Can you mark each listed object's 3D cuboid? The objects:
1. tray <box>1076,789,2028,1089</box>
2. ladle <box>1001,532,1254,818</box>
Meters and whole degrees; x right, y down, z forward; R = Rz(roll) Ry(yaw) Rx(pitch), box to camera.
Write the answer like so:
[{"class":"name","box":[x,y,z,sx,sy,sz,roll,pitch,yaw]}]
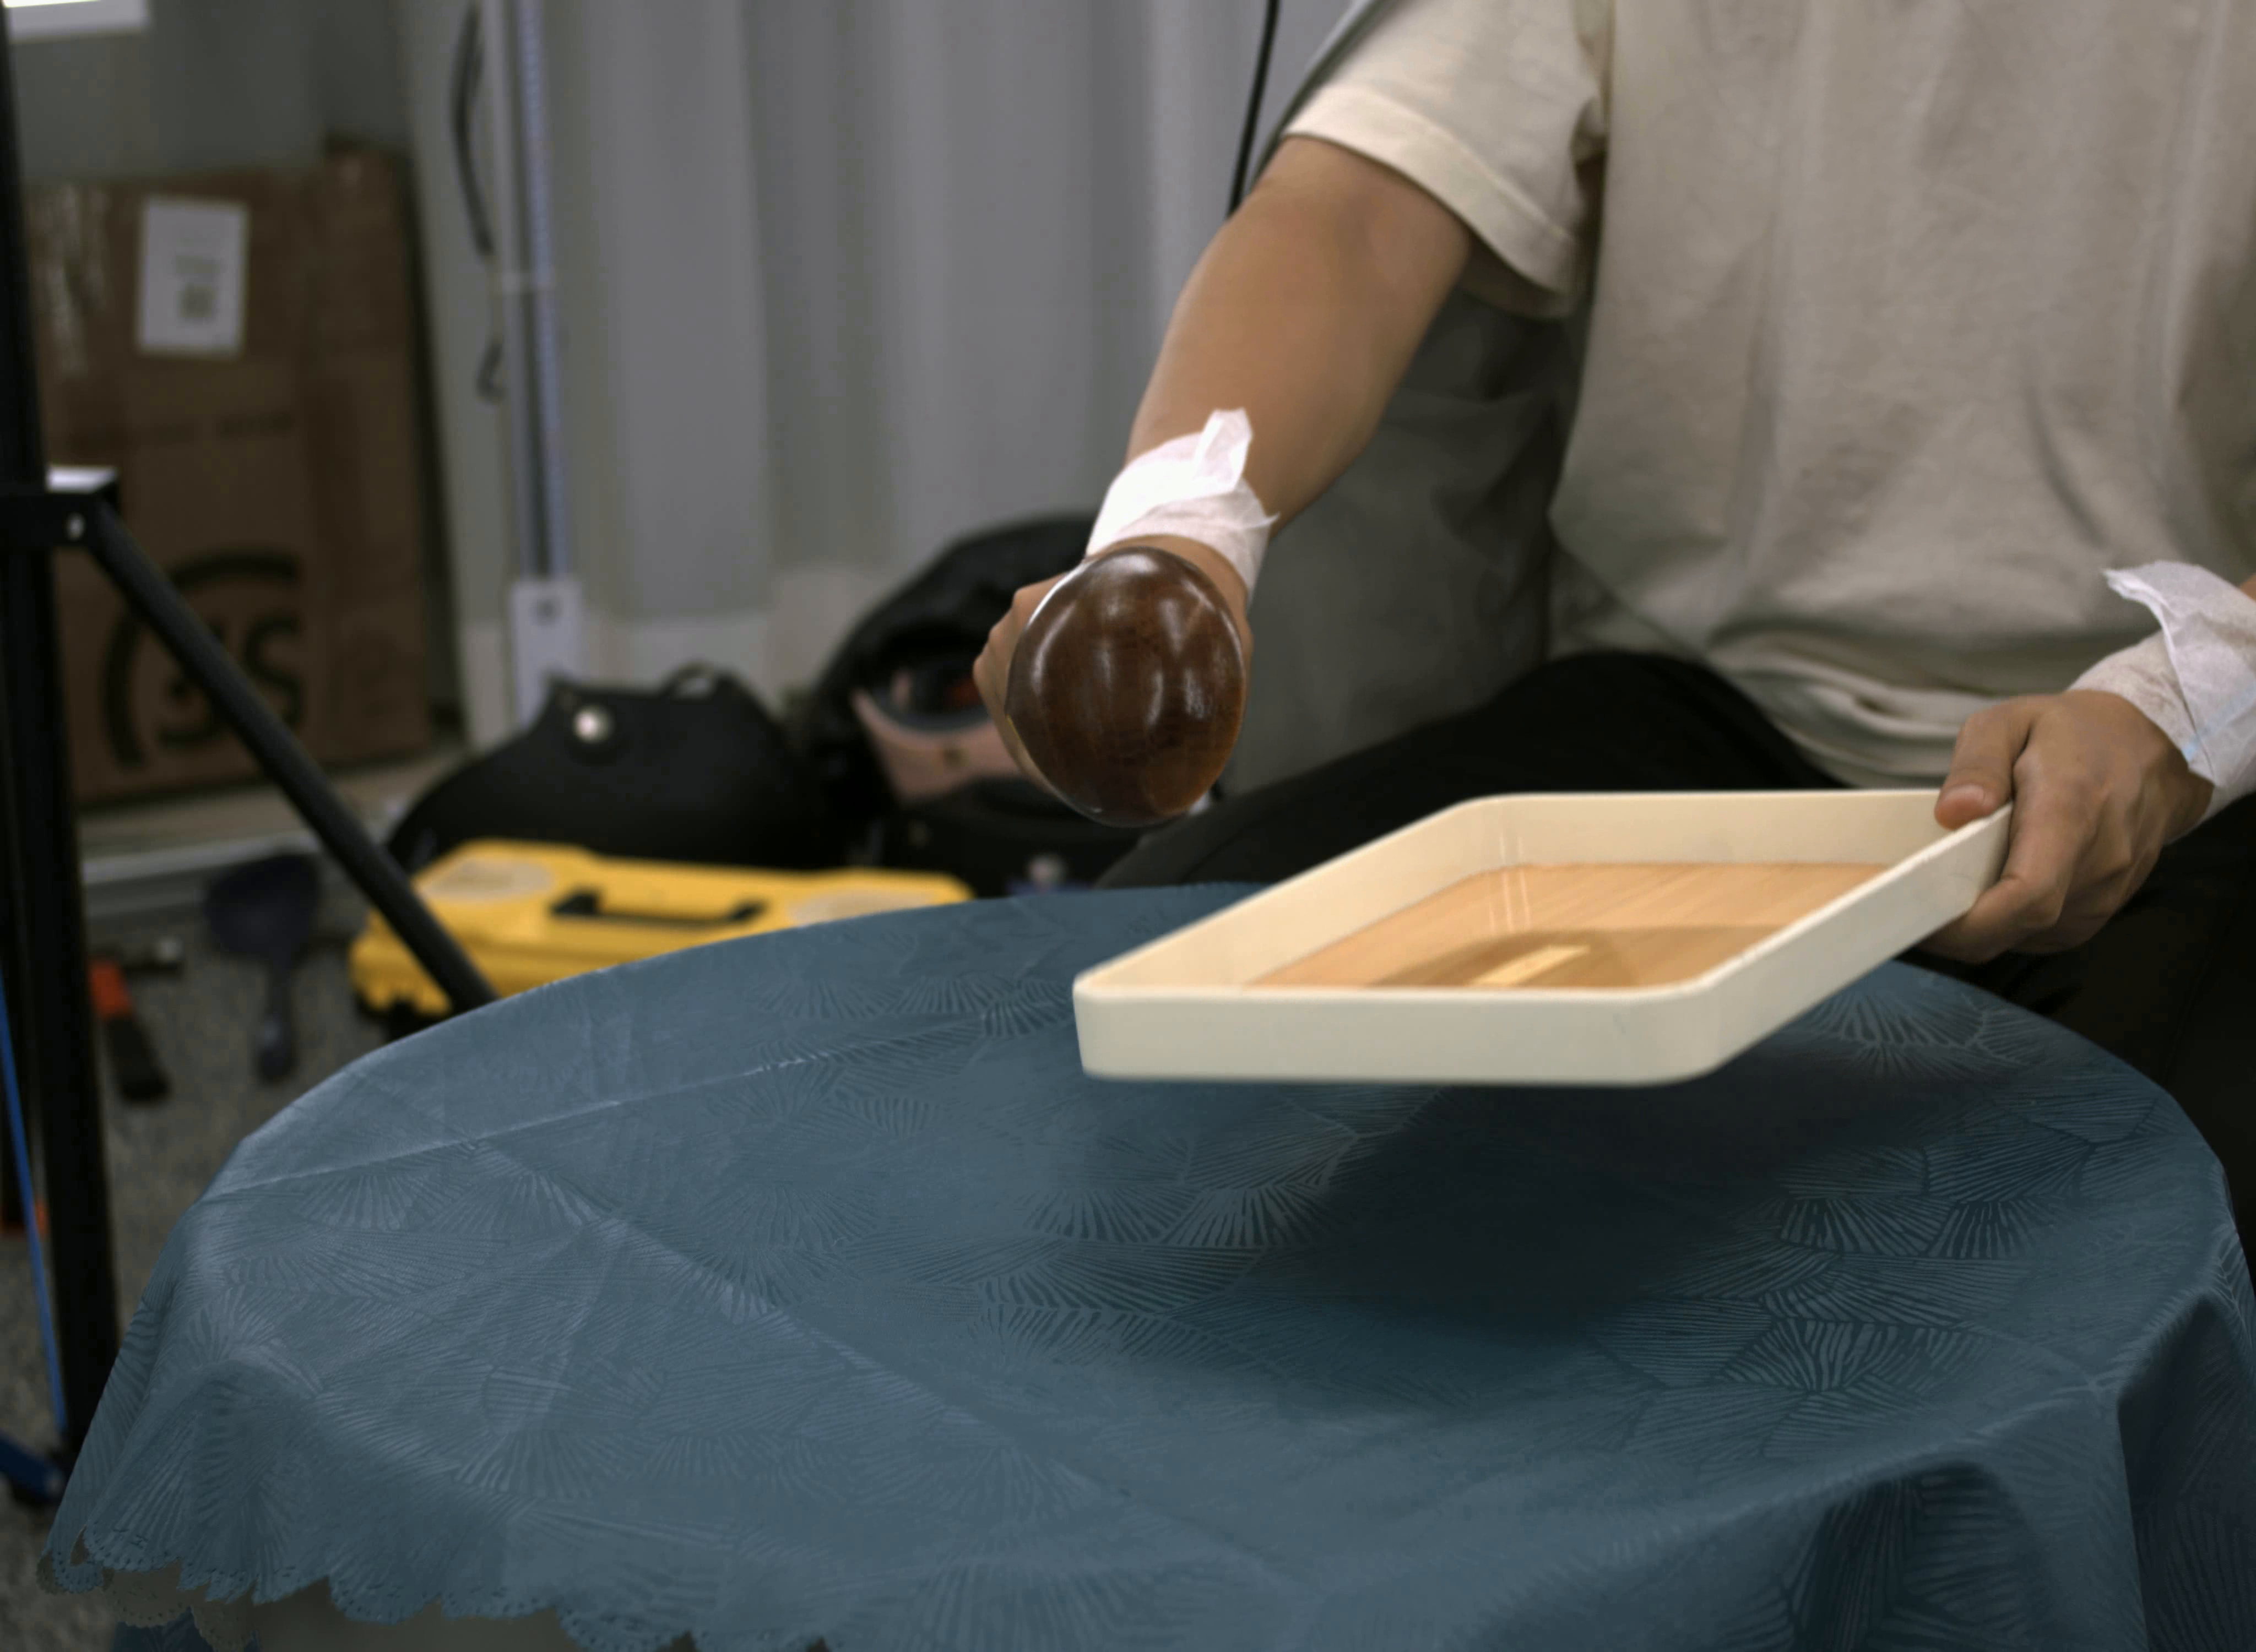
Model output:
[{"class":"tray","box":[0.131,0.031,1.541,0.195,0.027,0.295,-1,10,29]},{"class":"ladle","box":[0.007,-0.039,1.627,0.076,0.082,0.272,10,-2,5]}]
